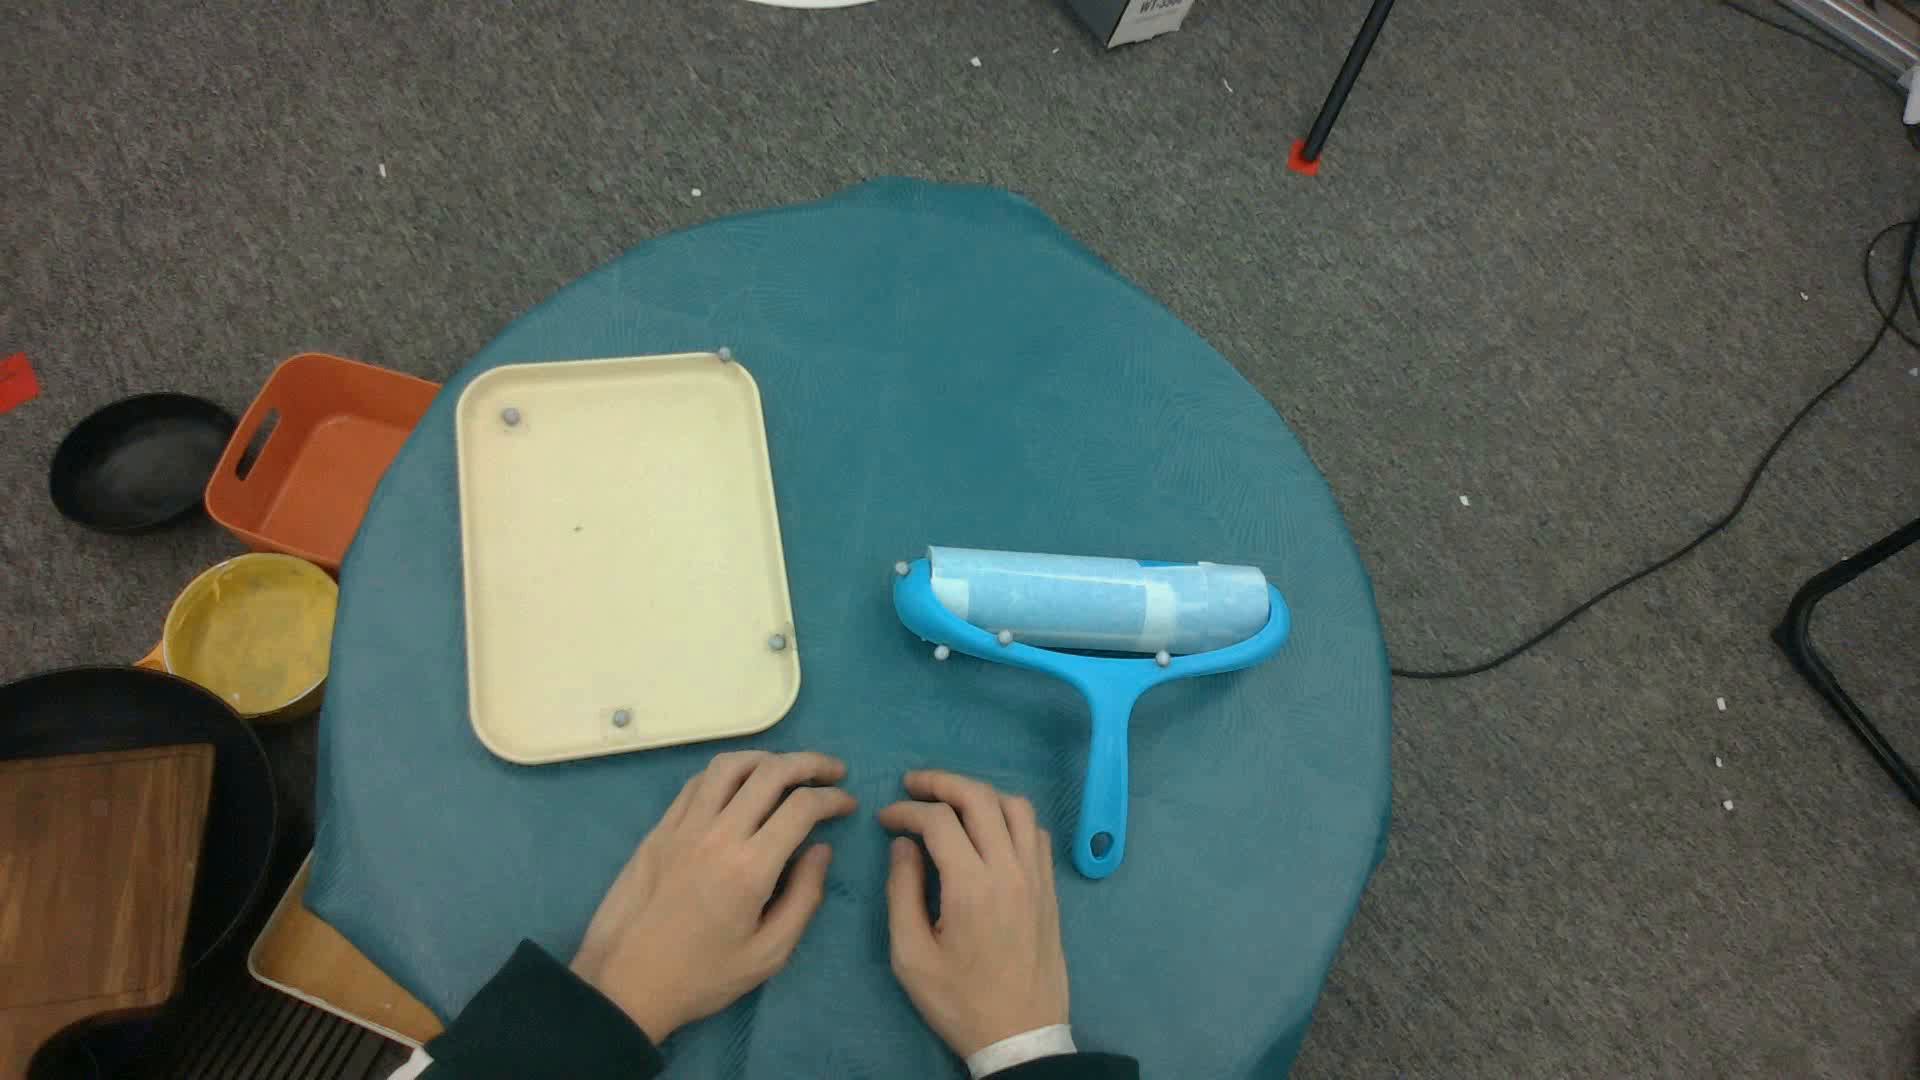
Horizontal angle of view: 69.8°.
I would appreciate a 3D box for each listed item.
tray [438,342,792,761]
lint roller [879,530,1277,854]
[{"bbox_3d":[-0.194,0.000,0.769,0.171,0.017,0.240,-8,67,-13],"label":"tray"},{"bbox_3d":[0.074,0.076,0.759,0.229,0.067,0.181,0,64,-12],"label":"lint roller"}]
